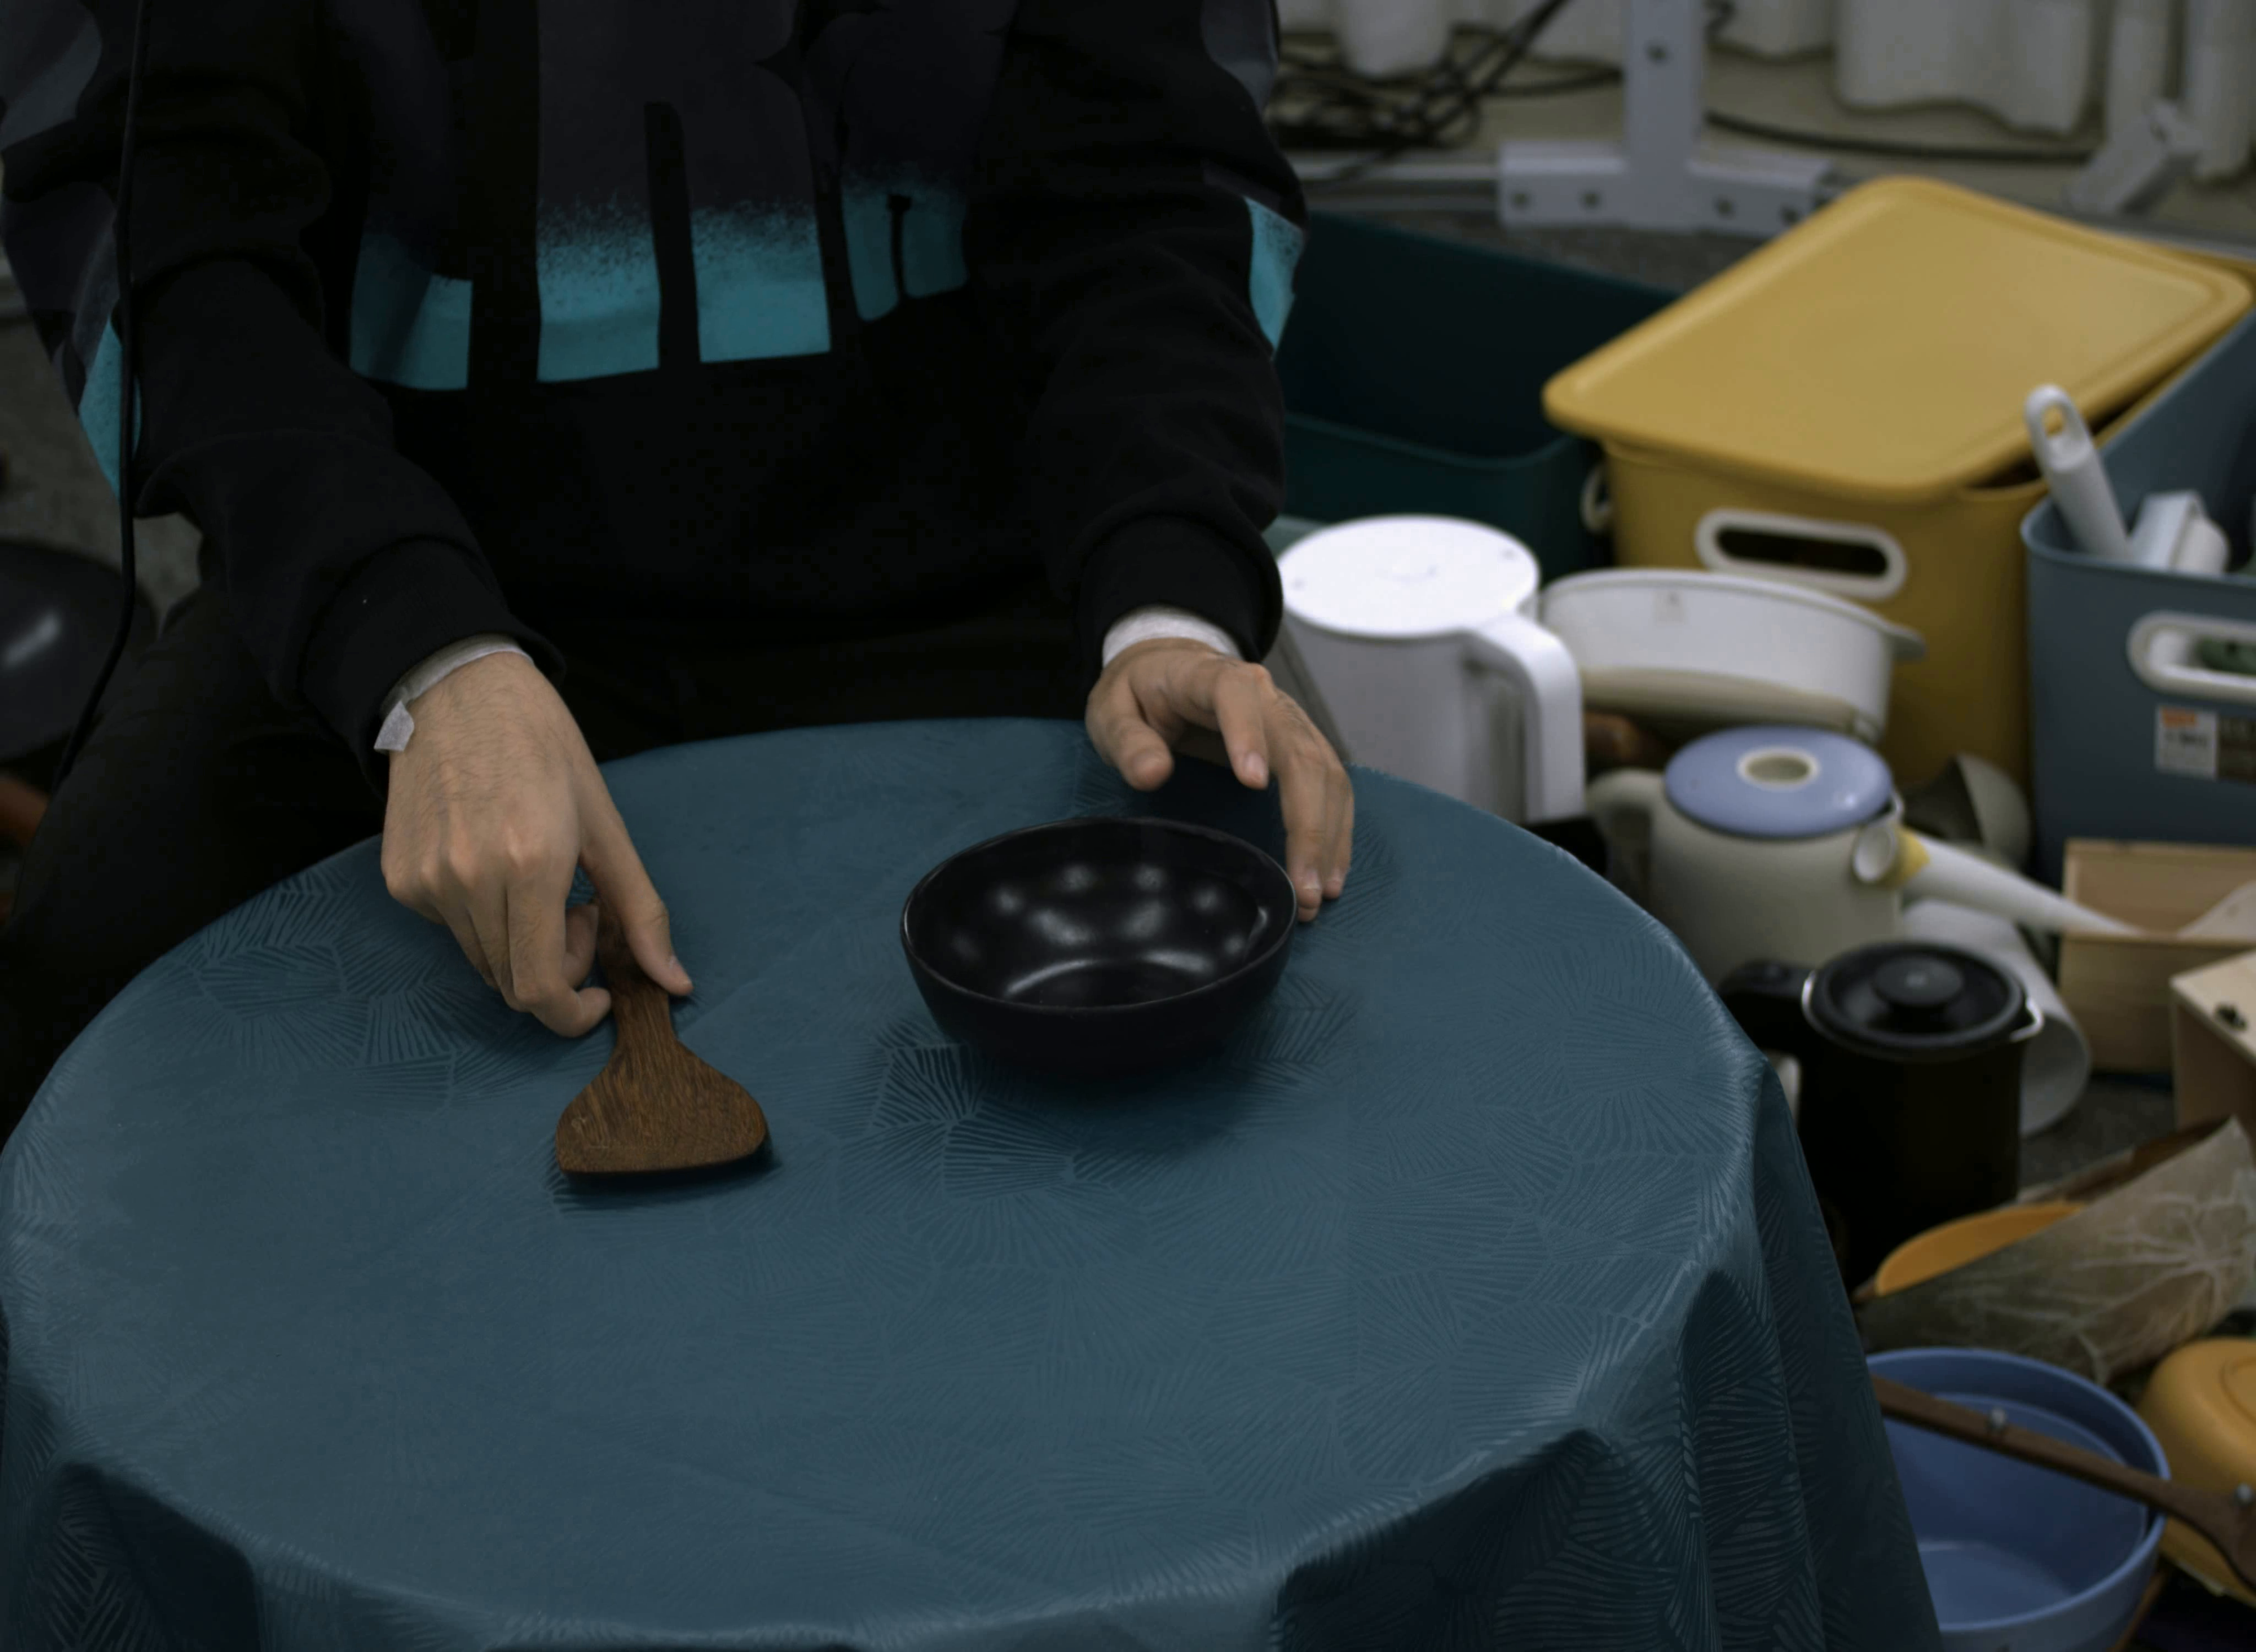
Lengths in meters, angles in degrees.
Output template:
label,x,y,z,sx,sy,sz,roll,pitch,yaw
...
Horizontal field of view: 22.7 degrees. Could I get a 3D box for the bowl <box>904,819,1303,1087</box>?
label,x,y,z,sx,sy,sz,roll,pitch,yaw
bowl,-0.006,0.052,1.947,0.139,0.049,0.142,-5,27,3

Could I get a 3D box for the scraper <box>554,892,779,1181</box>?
label,x,y,z,sx,sy,sz,roll,pitch,yaw
scraper,-0.168,0.073,1.963,0.075,0.011,0.214,-4,26,-8
